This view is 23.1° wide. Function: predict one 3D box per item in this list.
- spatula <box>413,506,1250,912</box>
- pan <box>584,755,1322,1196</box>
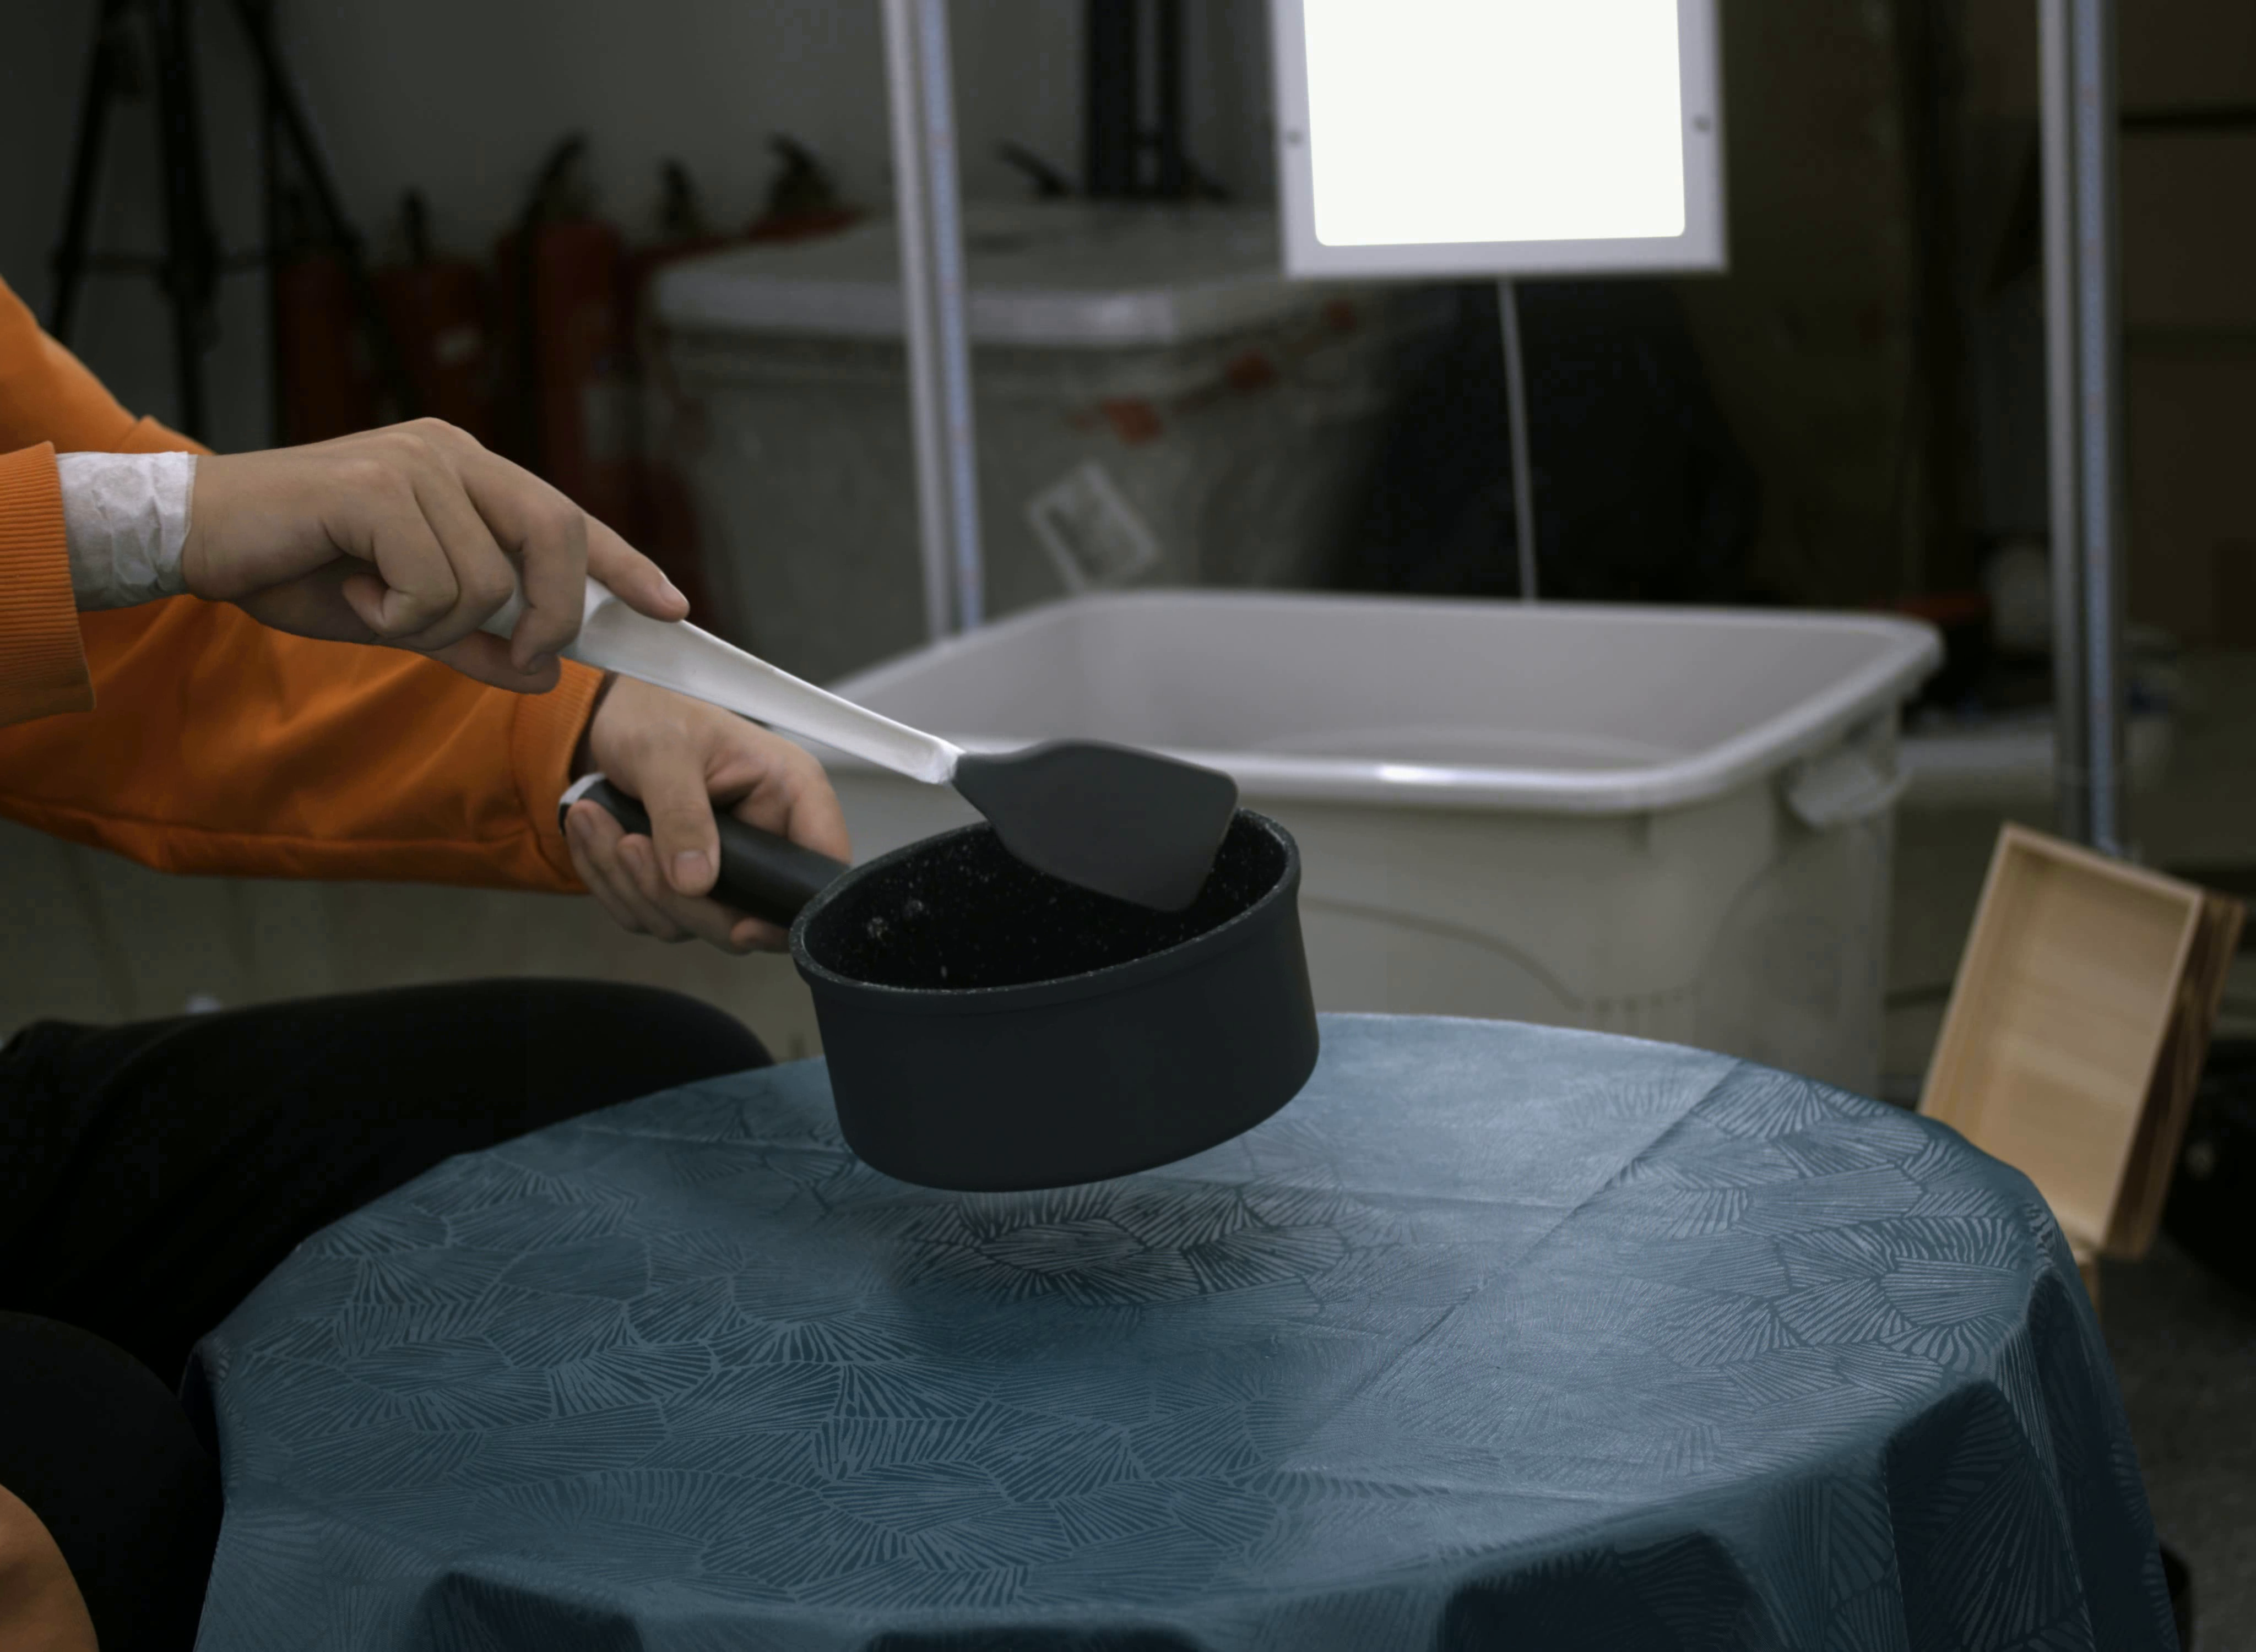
[{"bbox_3d":[-0.094,-0.039,1.794,0.284,0.059,0.032,21,9,-13],"label":"spatula"},{"bbox_3d":[-0.074,0.042,1.885,0.168,0.087,0.335,-24,24,-35],"label":"pan"}]
